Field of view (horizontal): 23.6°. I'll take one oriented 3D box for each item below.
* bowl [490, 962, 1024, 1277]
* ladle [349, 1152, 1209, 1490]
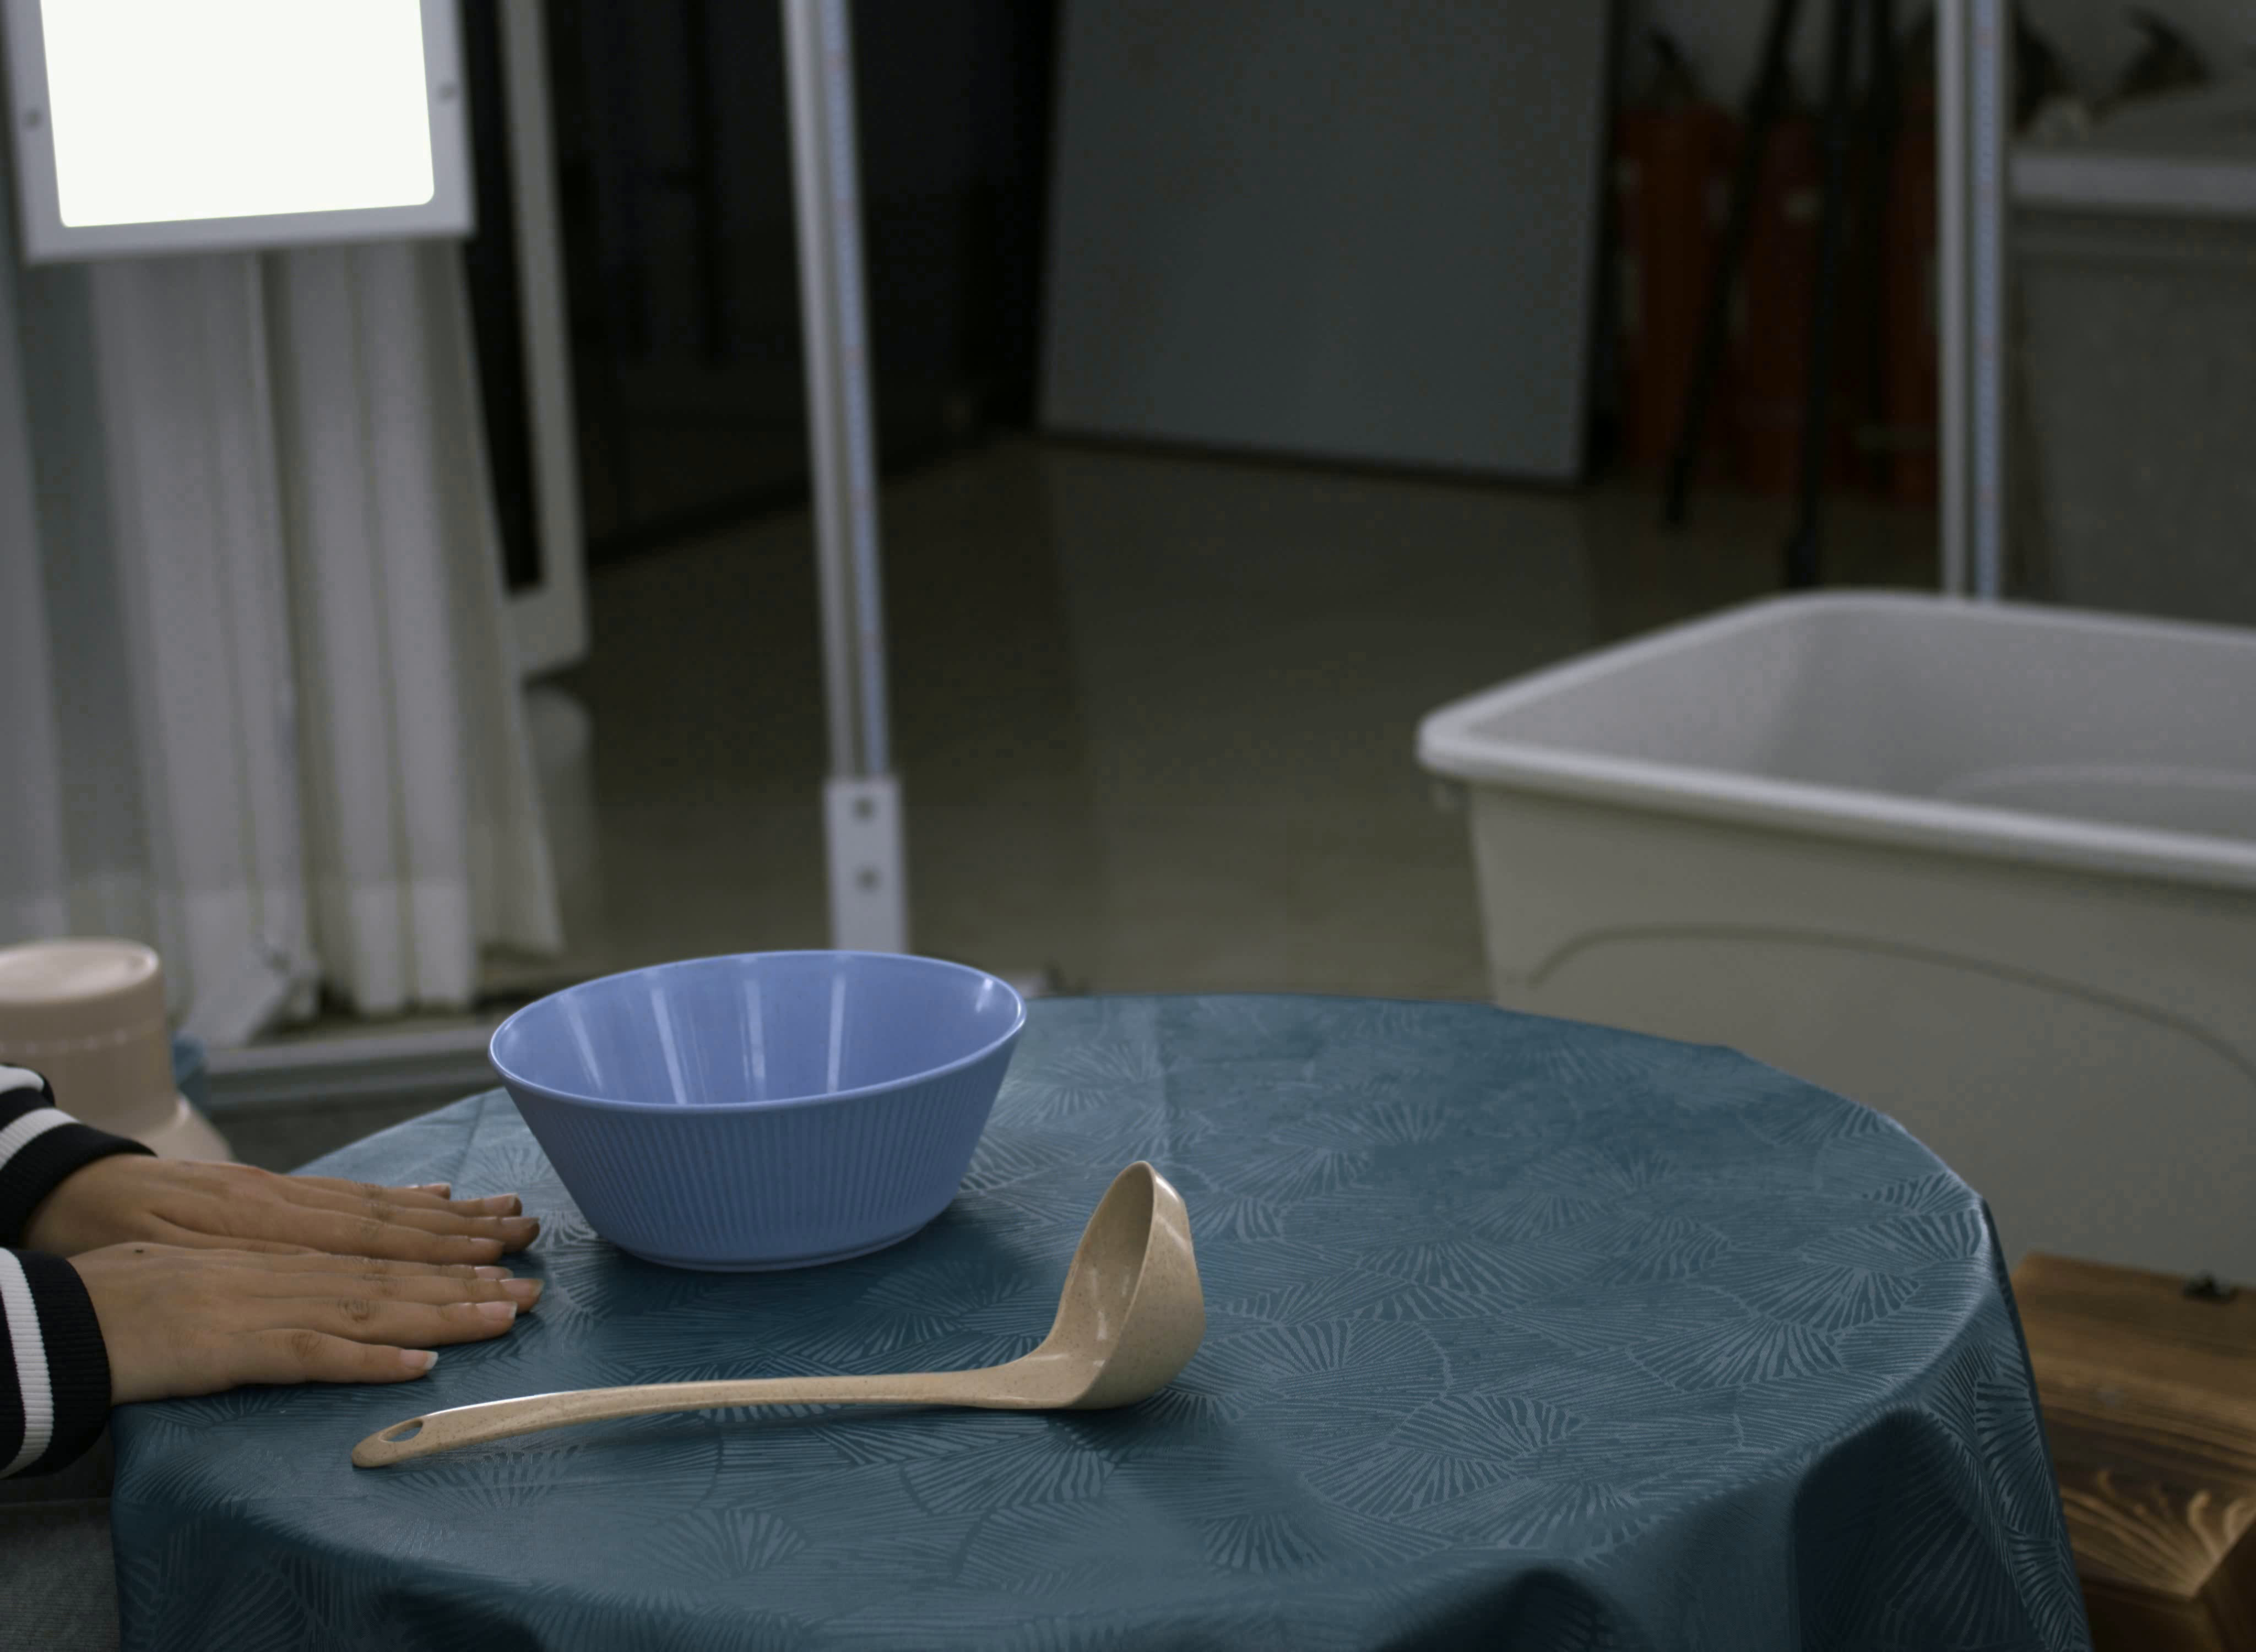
[{"bbox_3d":[-0.118,0.097,1.756,0.174,0.071,0.176,-4,13,0],"label":"bowl"},{"bbox_3d":[-0.102,0.143,1.560,0.250,0.073,0.072,-6,26,-5],"label":"ladle"}]
